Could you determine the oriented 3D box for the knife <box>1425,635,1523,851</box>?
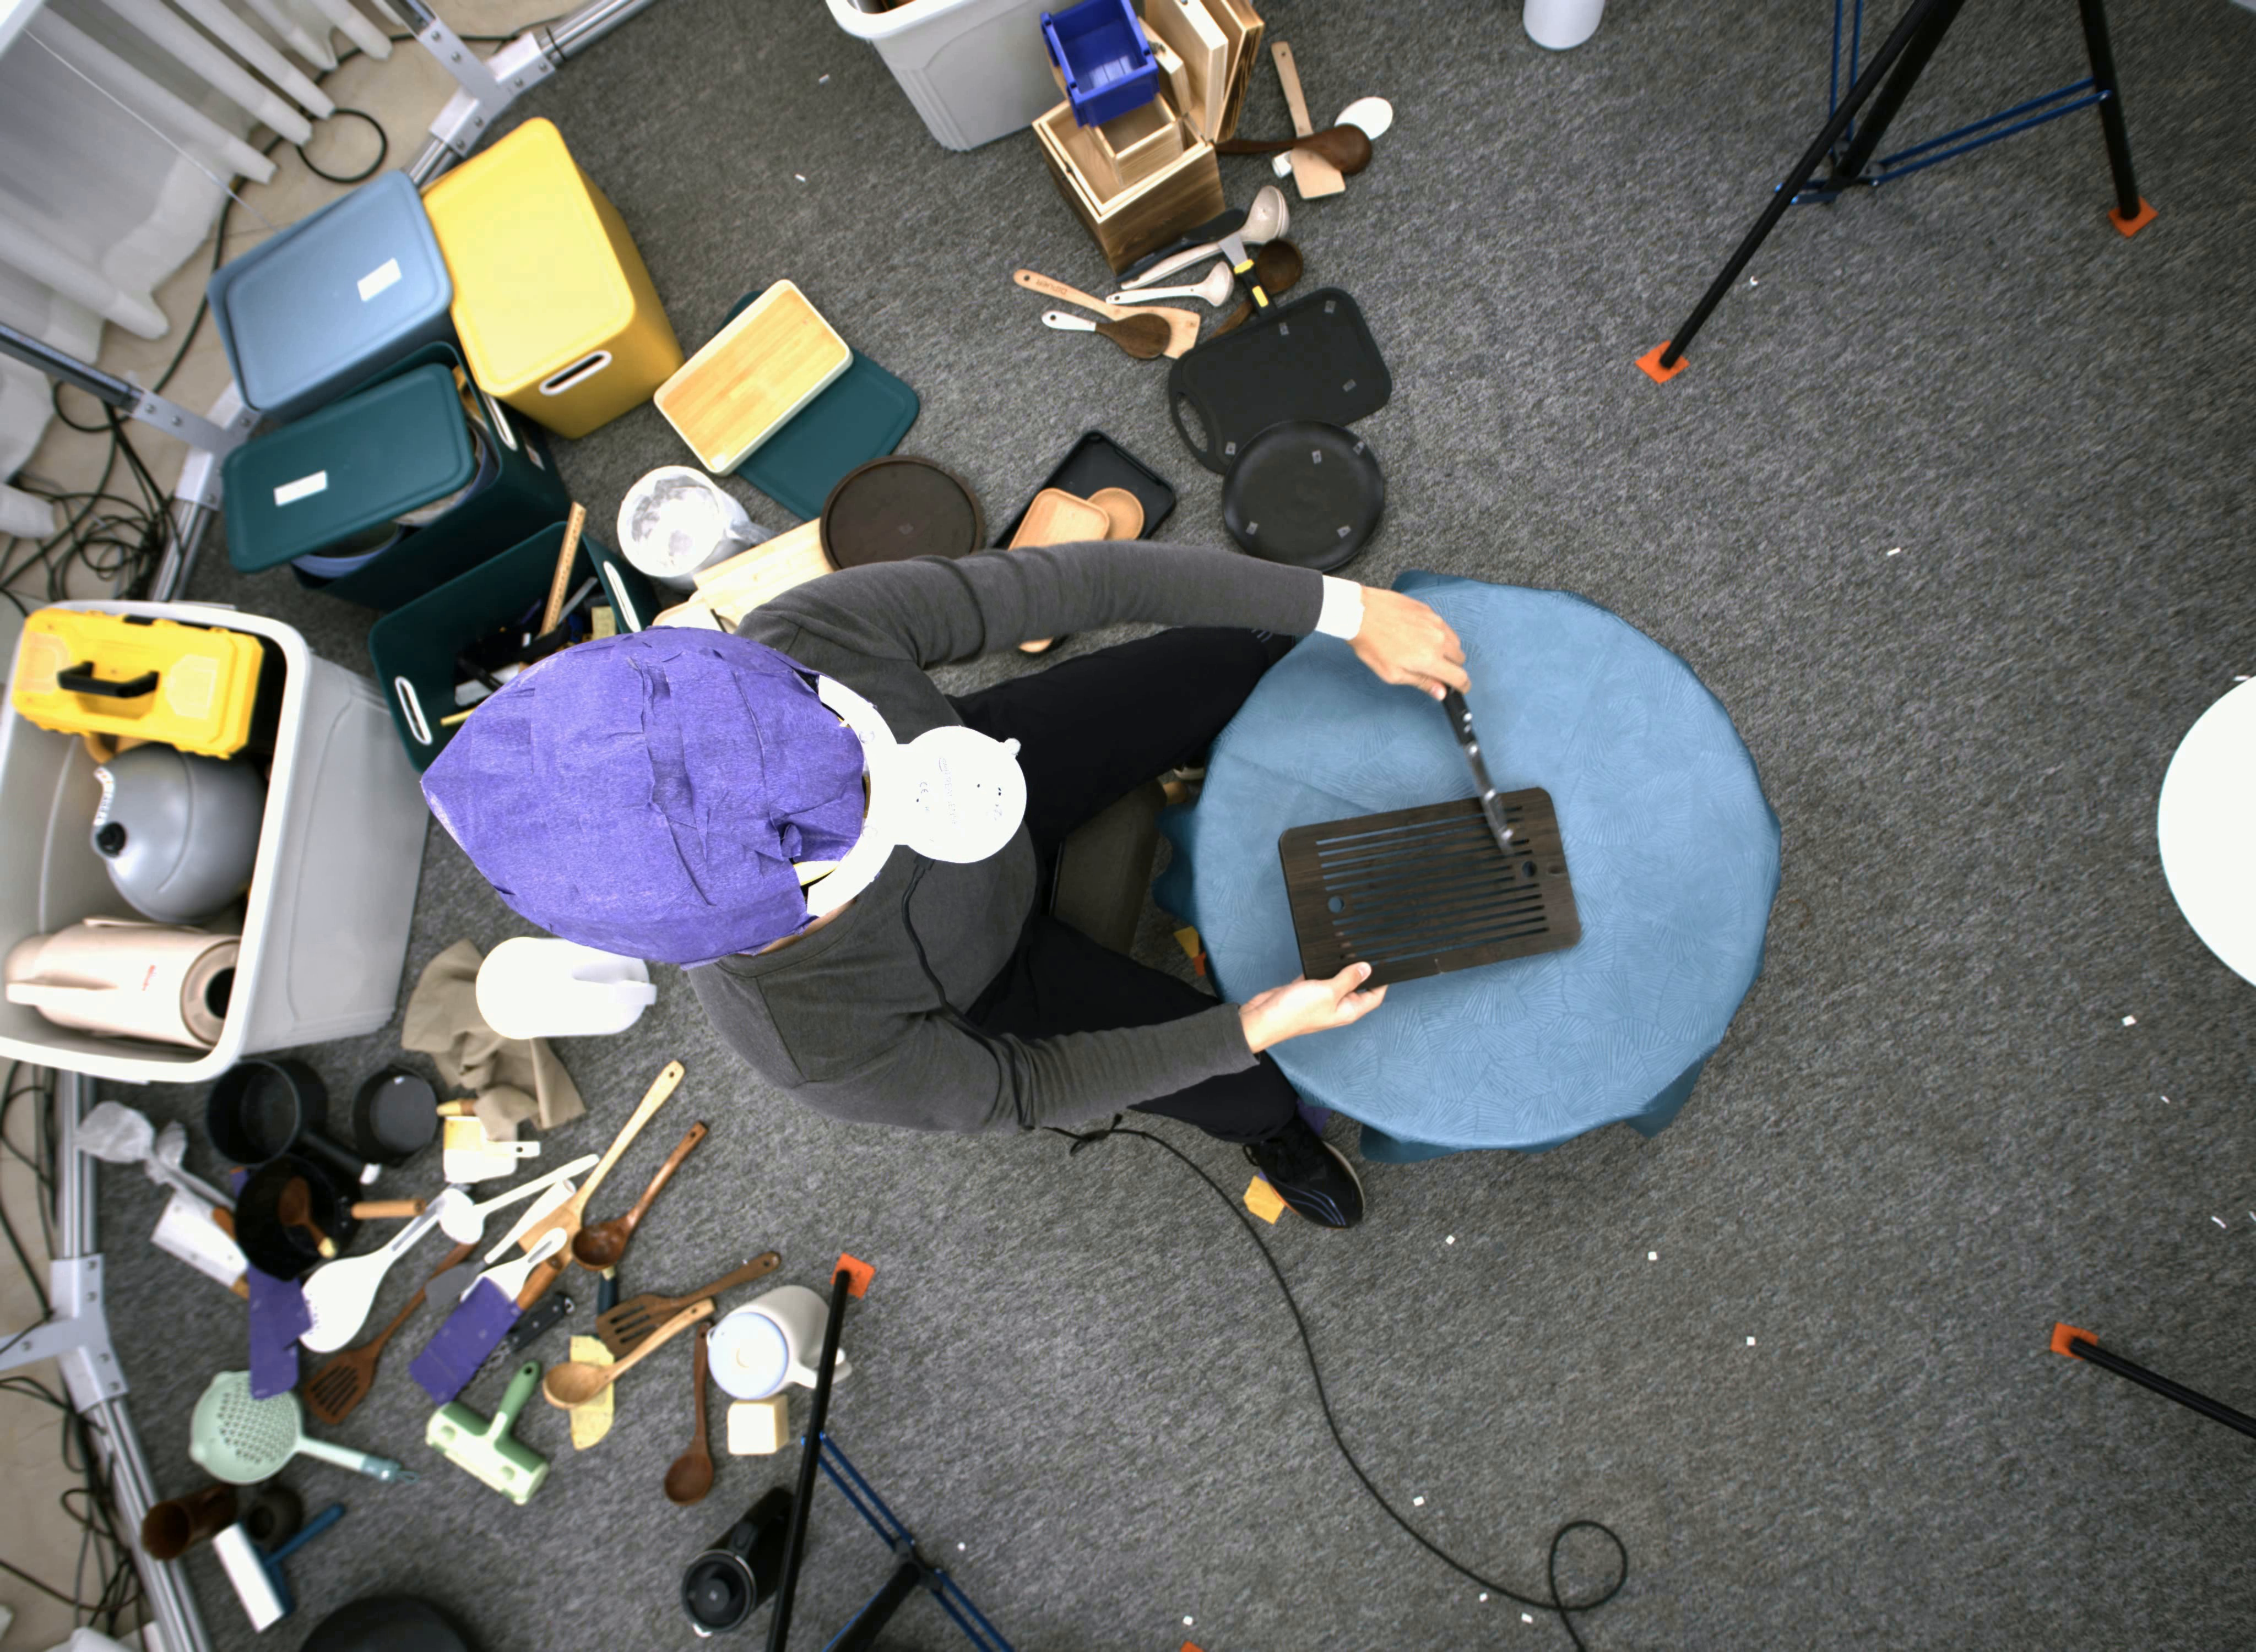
[{"bbox_3d":[0.355,-0.085,1.402,0.024,0.016,0.238,-24,92,-32],"label":"knife"}]

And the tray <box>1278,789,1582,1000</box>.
[{"bbox_3d":[0.307,0.065,1.391,0.305,0.019,0.169,-10,85,-13],"label":"tray"}]
